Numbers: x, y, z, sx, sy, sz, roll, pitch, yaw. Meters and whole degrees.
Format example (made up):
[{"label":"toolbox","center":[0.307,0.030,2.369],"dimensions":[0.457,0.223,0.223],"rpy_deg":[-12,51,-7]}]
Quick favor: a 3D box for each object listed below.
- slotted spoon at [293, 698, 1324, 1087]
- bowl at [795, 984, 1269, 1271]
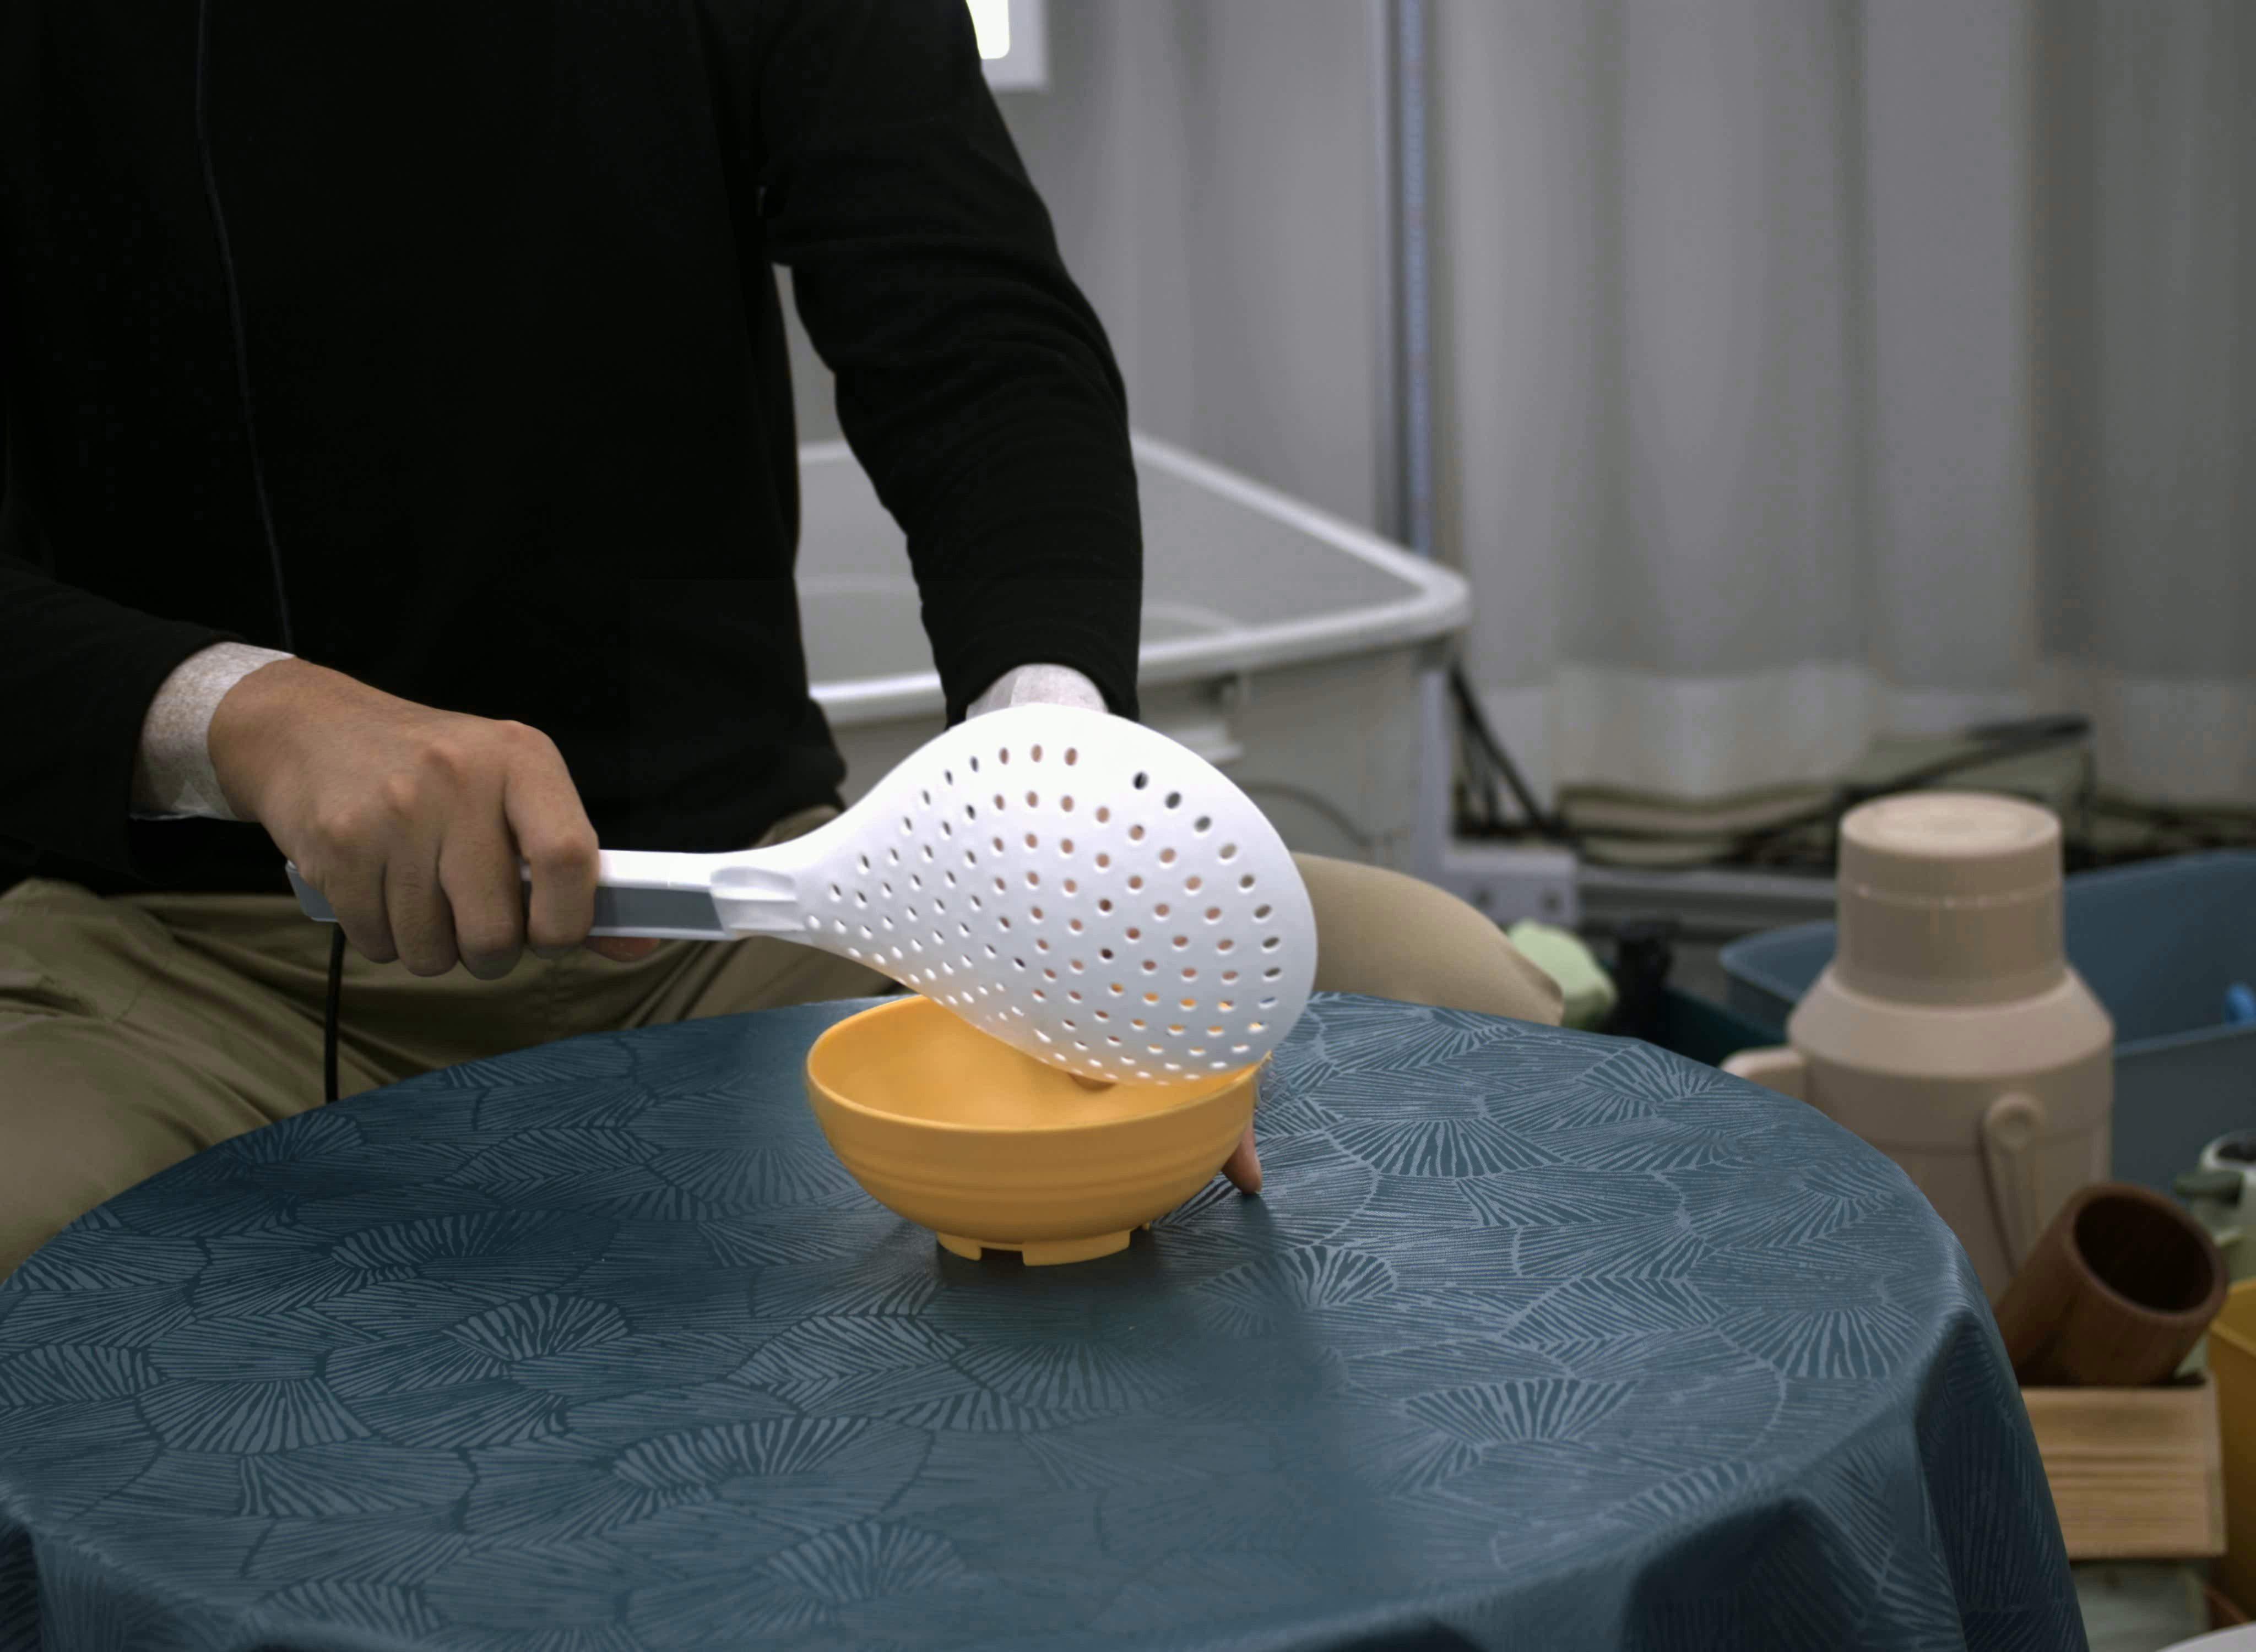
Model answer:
[{"label":"slotted spoon","center":[-0.105,0.021,1.659],"dimensions":[0.350,0.134,0.046],"rpy_deg":[5,34,30]},{"label":"bowl","center":[-0.029,0.097,1.675],"dimensions":[0.145,0.060,0.146],"rpy_deg":[0,16,0]}]
